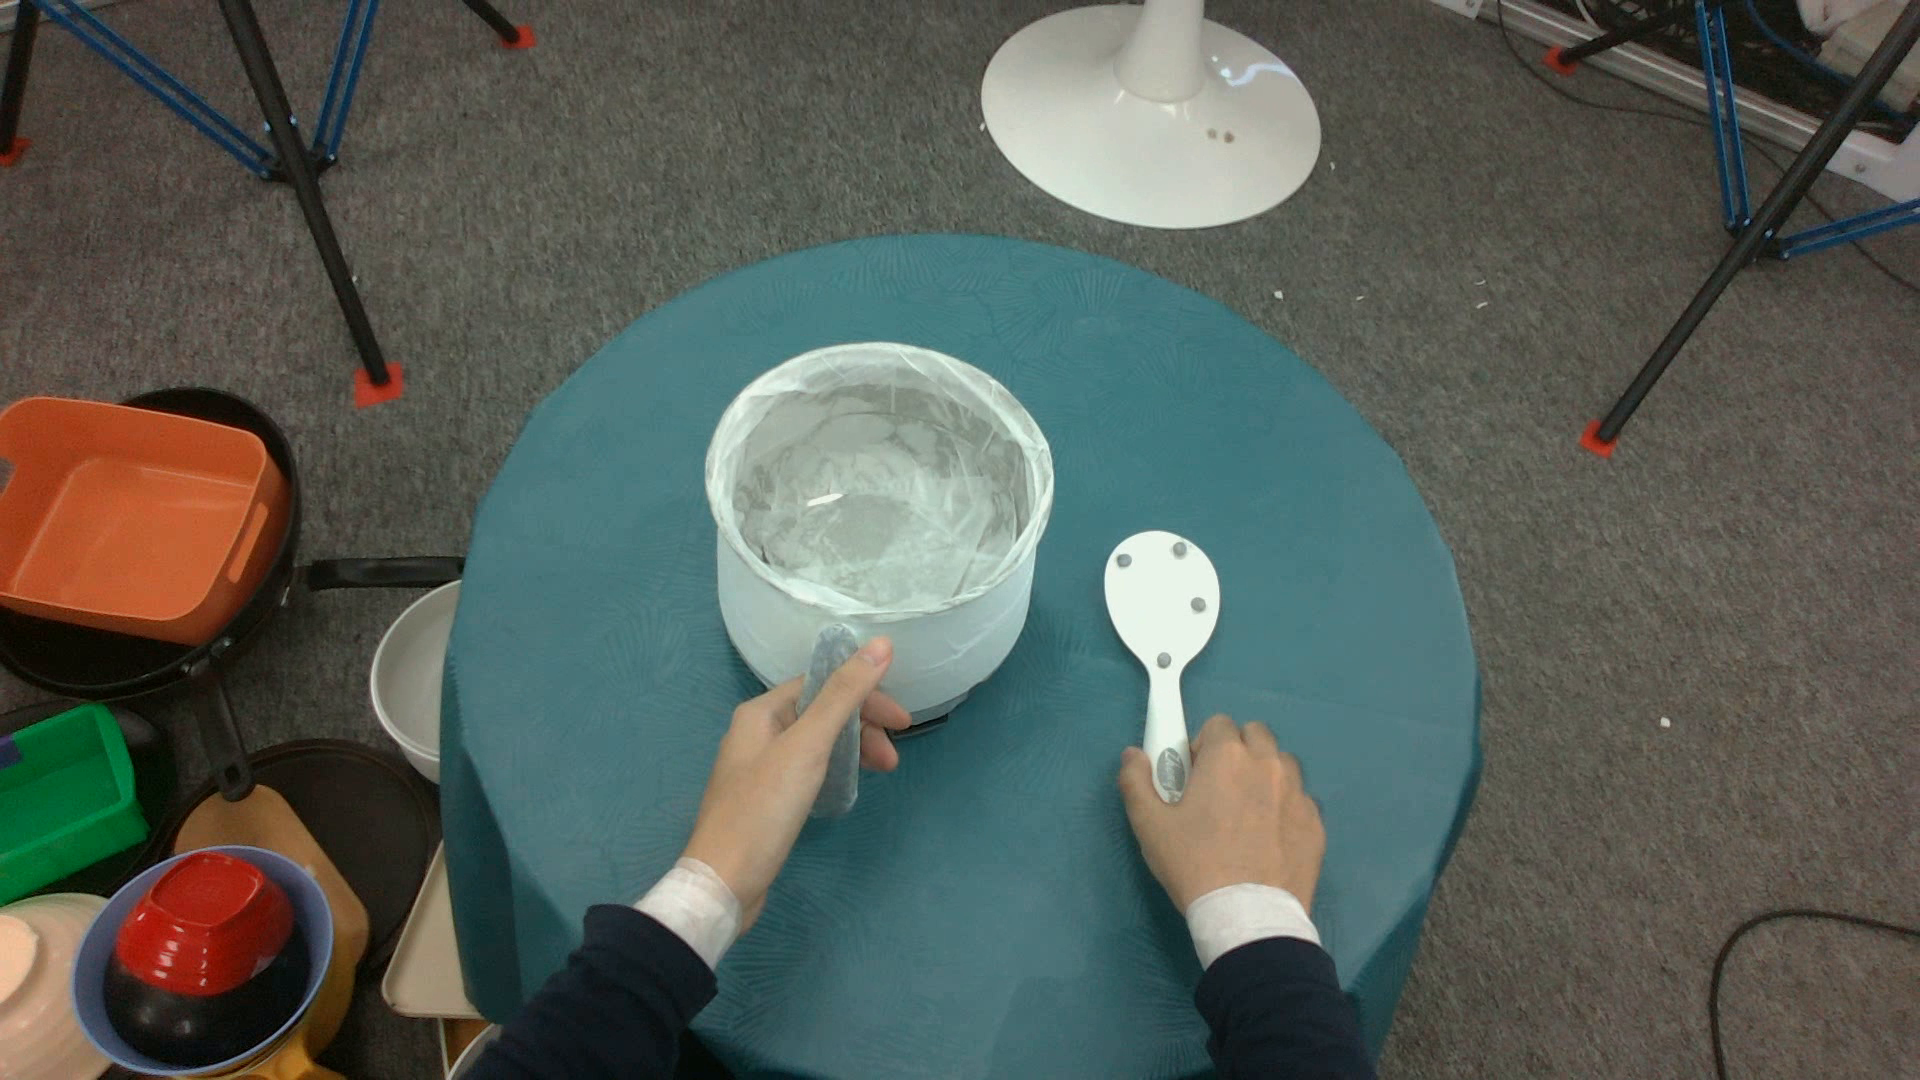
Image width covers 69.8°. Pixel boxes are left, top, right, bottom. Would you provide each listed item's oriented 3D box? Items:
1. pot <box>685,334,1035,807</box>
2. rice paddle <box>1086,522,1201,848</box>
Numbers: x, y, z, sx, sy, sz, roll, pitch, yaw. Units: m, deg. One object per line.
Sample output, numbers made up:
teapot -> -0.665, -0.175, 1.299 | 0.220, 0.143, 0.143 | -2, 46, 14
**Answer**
pot -> -0.058, 0.018, 0.735 | 0.179, 0.136, 0.235 | 10, 55, 2
rice paddle -> 0.106, 0.072, 0.780 | 0.069, 0.029, 0.206 | 5, 55, -3
